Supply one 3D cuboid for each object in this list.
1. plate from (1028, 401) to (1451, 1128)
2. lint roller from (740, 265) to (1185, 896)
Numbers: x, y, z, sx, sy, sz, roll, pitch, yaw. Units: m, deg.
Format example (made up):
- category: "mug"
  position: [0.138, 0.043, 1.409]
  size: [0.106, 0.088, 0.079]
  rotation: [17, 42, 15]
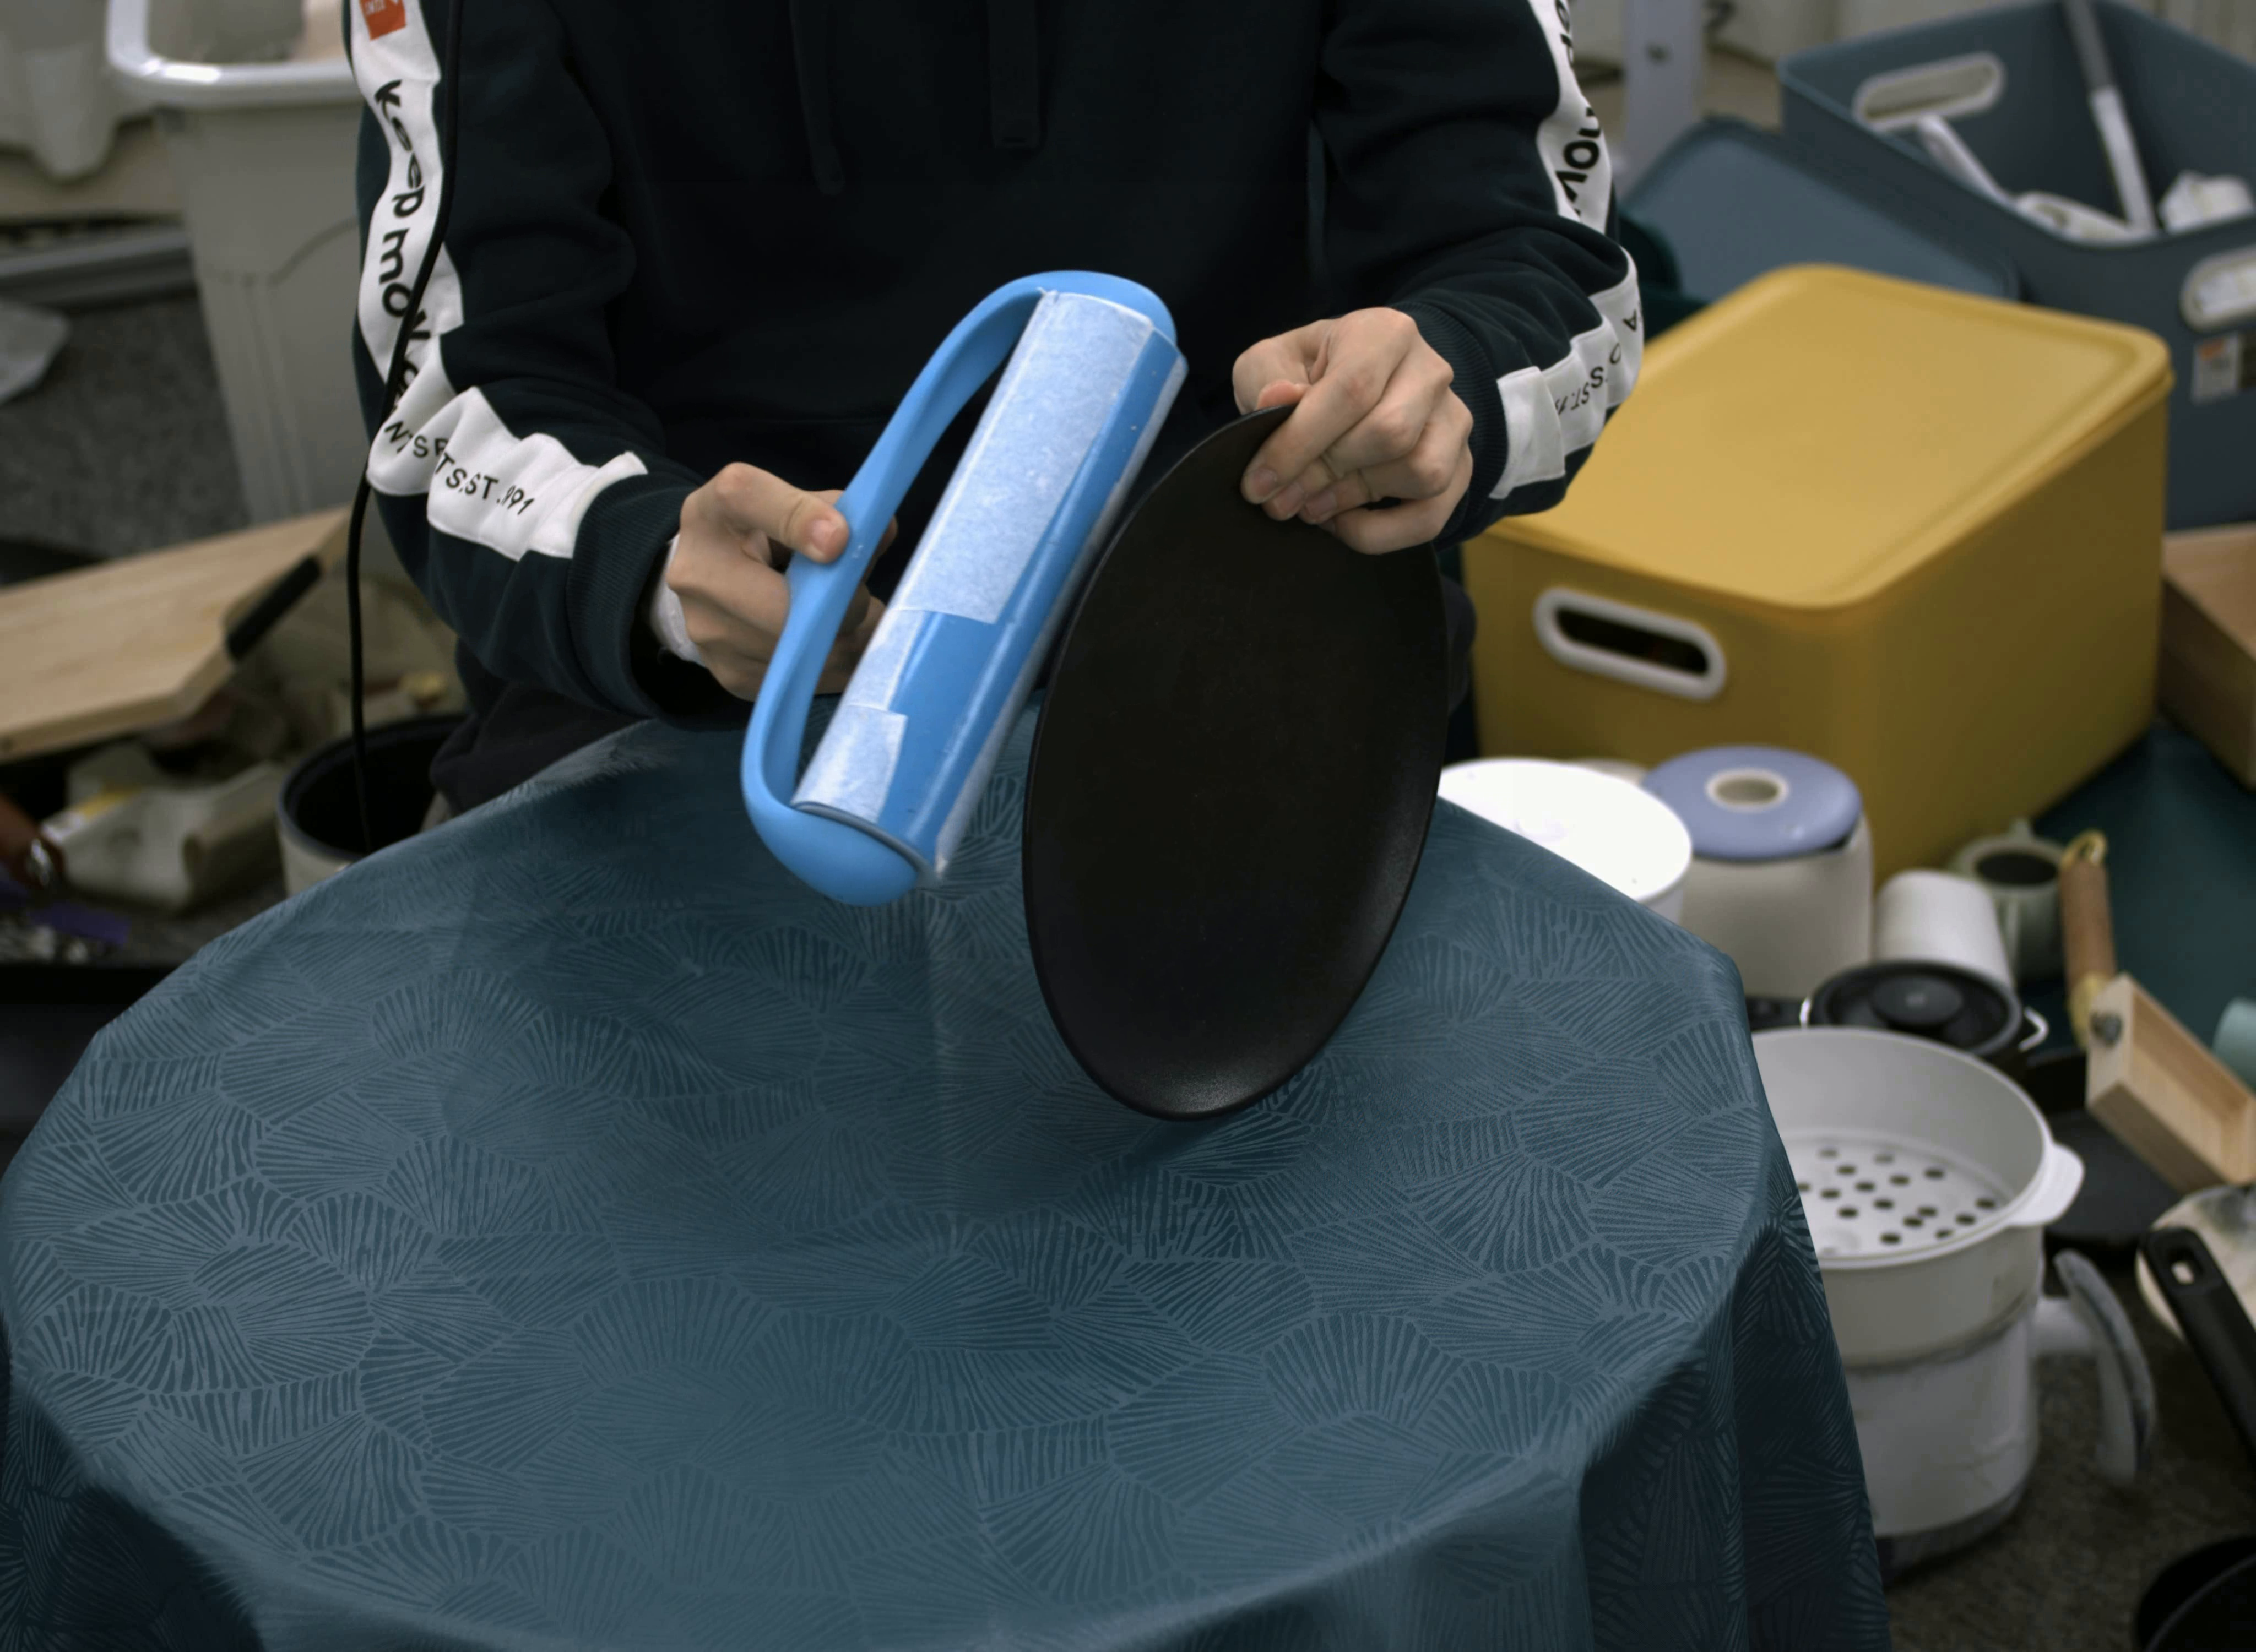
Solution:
- category: "plate"
  position: [0.033, -0.022, 1.875]
  size: [0.023, 0.242, 0.248]
  rotation: [11, 29, 34]
- category: "lint roller"
  position: [-0.078, -0.075, 1.844]
  size: [0.178, 0.067, 0.232]
  rotation: [-10, 50, 56]
